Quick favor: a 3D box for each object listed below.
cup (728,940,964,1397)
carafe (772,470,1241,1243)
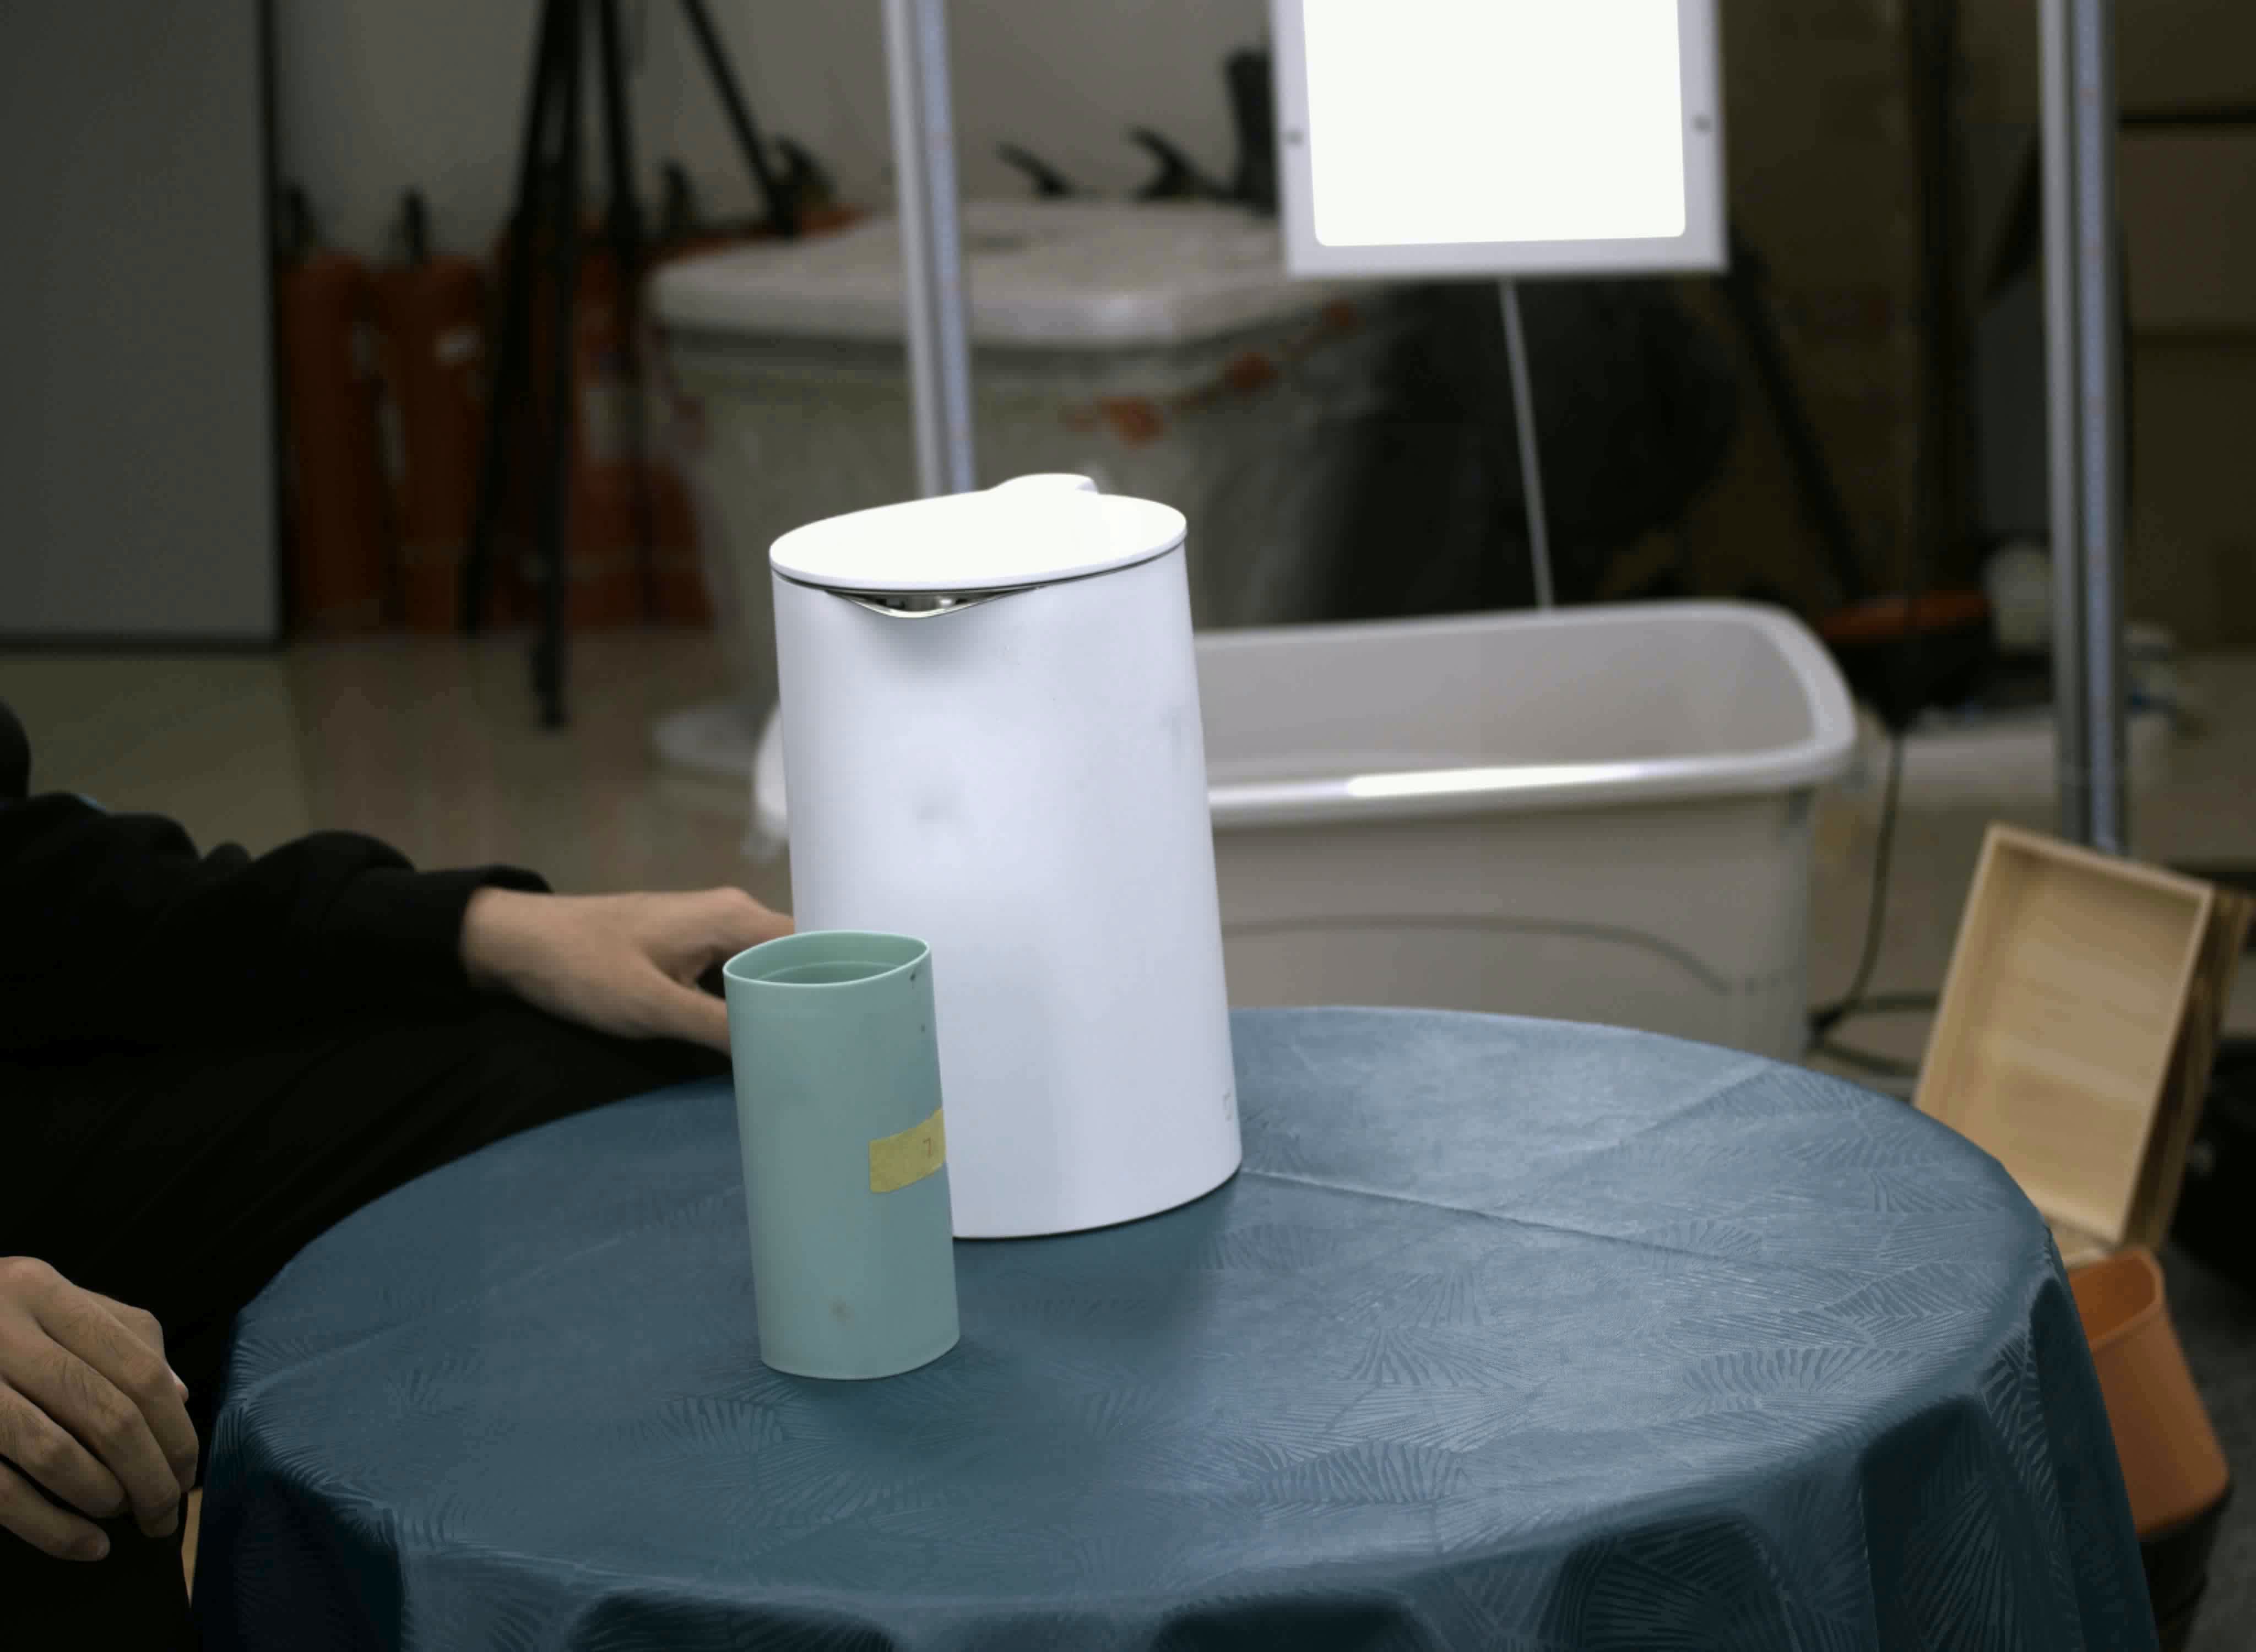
[{"bbox_3d":[-0.090,0.107,1.746,0.066,0.133,0.066,-4,15,0],"label":"cup"},{"bbox_3d":[-0.036,0.004,1.920,0.153,0.241,0.210,0,15,15],"label":"carafe"}]
